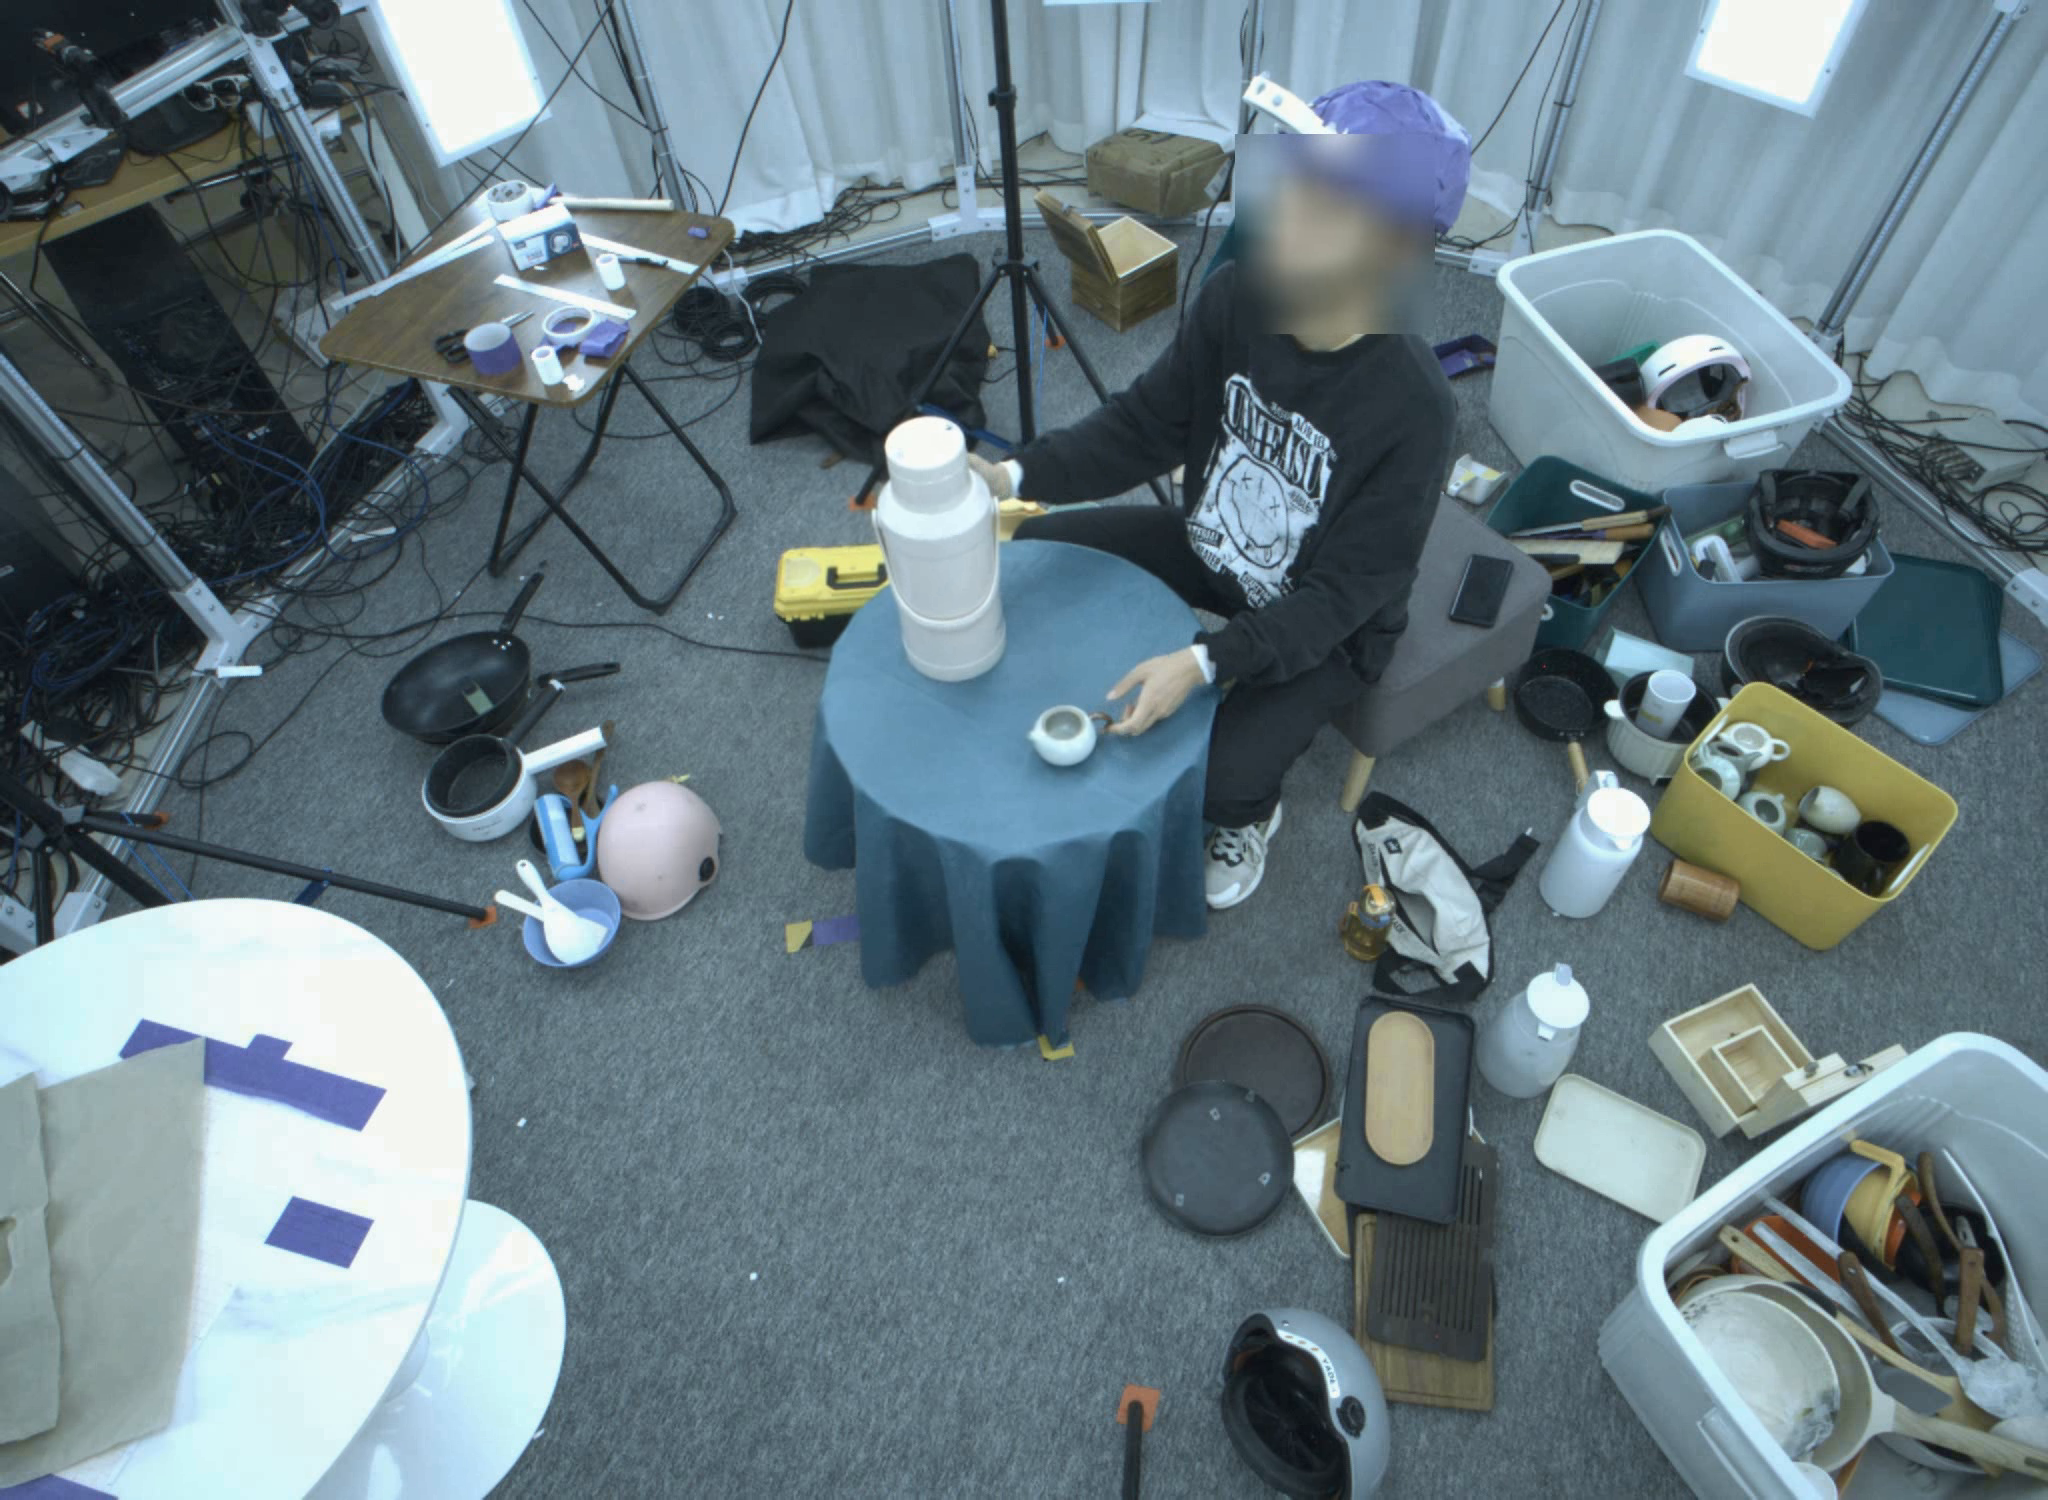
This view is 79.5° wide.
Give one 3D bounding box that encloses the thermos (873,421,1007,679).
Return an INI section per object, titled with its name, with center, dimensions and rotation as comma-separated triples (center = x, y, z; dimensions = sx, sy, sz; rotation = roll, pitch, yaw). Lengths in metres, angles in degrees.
[thermos]
center = -0.118, -0.297, 1.754
dimensions = 0.175, 0.411, 0.204
rotation = -8, 55, -1

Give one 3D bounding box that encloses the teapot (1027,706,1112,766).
[teapot]
center = 0.066, -0.023, 1.761
dimensions = 0.129, 0.060, 0.090
rotation = -19, 52, -10
